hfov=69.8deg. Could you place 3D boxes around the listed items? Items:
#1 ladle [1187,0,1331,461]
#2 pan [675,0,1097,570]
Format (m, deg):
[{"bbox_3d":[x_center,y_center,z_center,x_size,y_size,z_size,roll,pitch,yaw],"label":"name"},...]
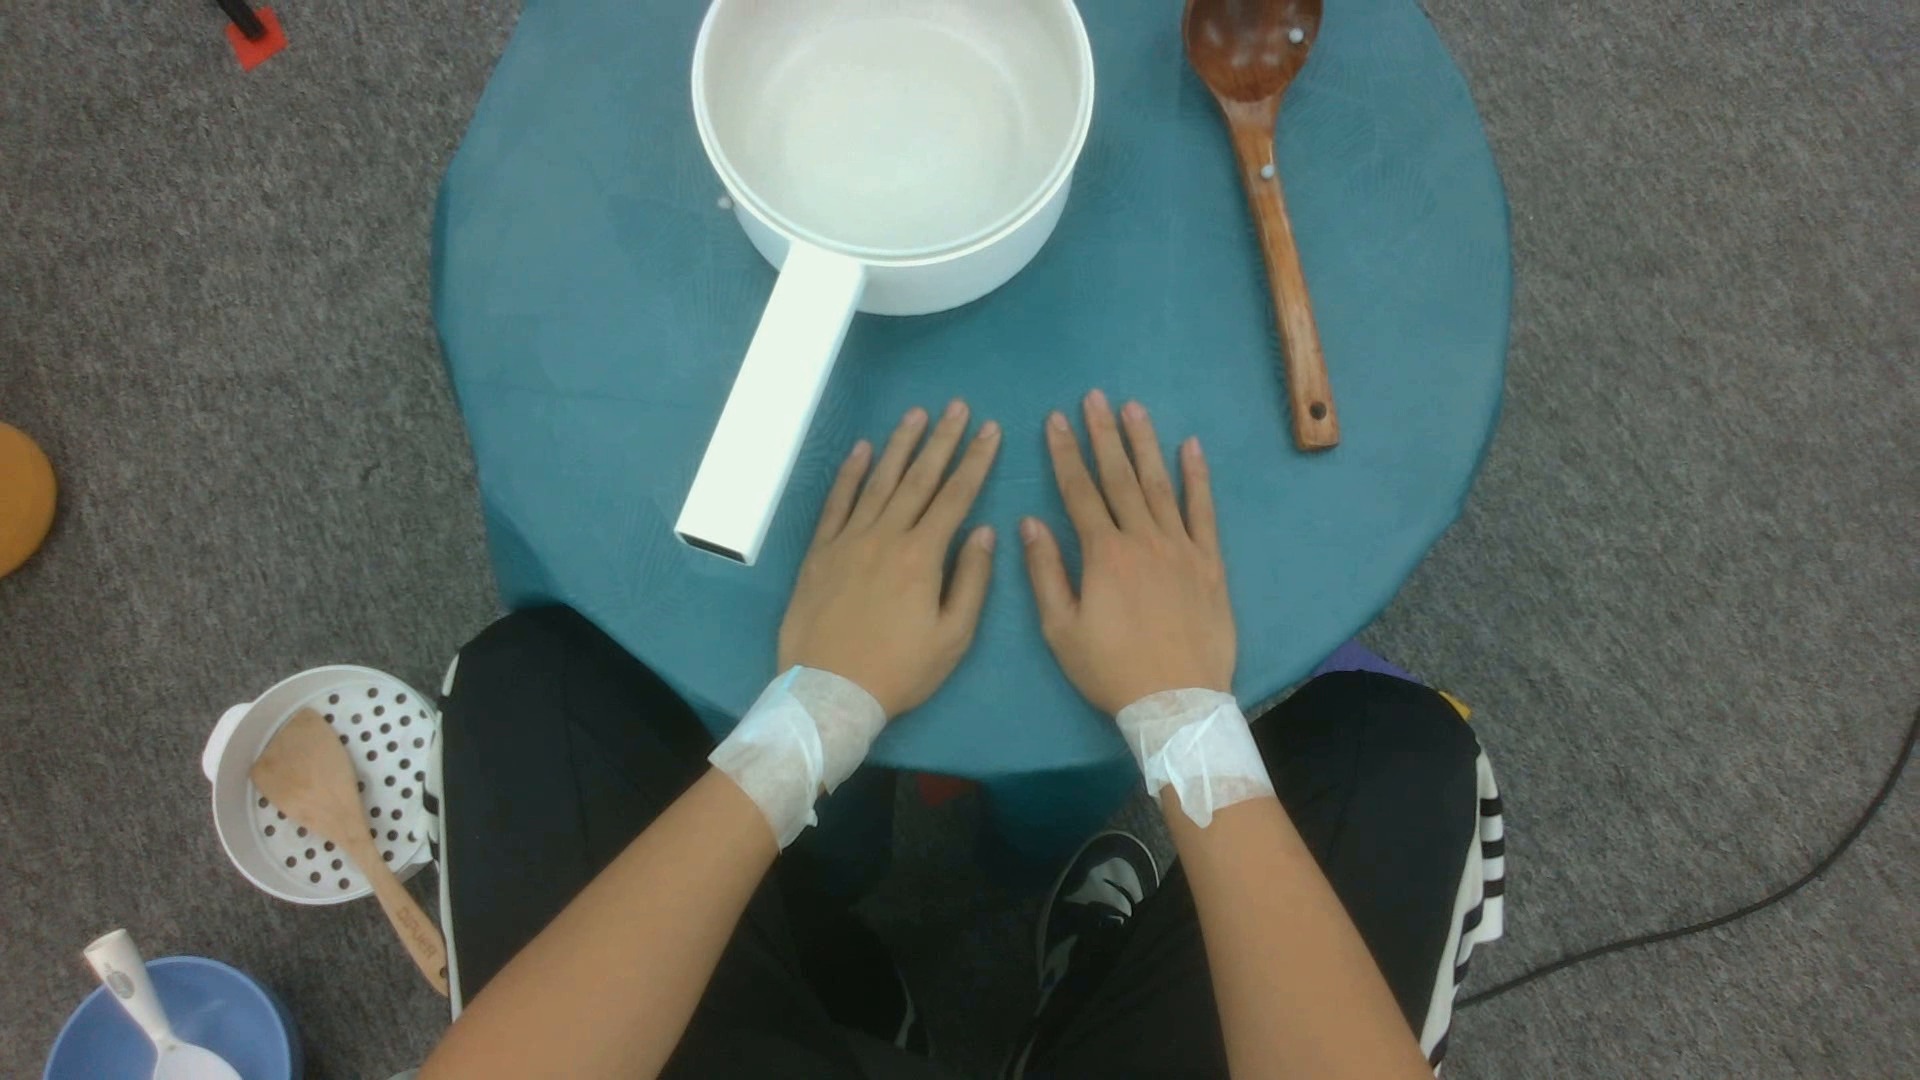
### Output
[{"bbox_3d":[0.181,-0.184,0.755,0.082,0.076,0.274,-6,75,-3],"label":"ladle"},{"bbox_3d":[-0.056,-0.147,0.734,0.201,0.102,0.355,19,77,4],"label":"pan"}]
